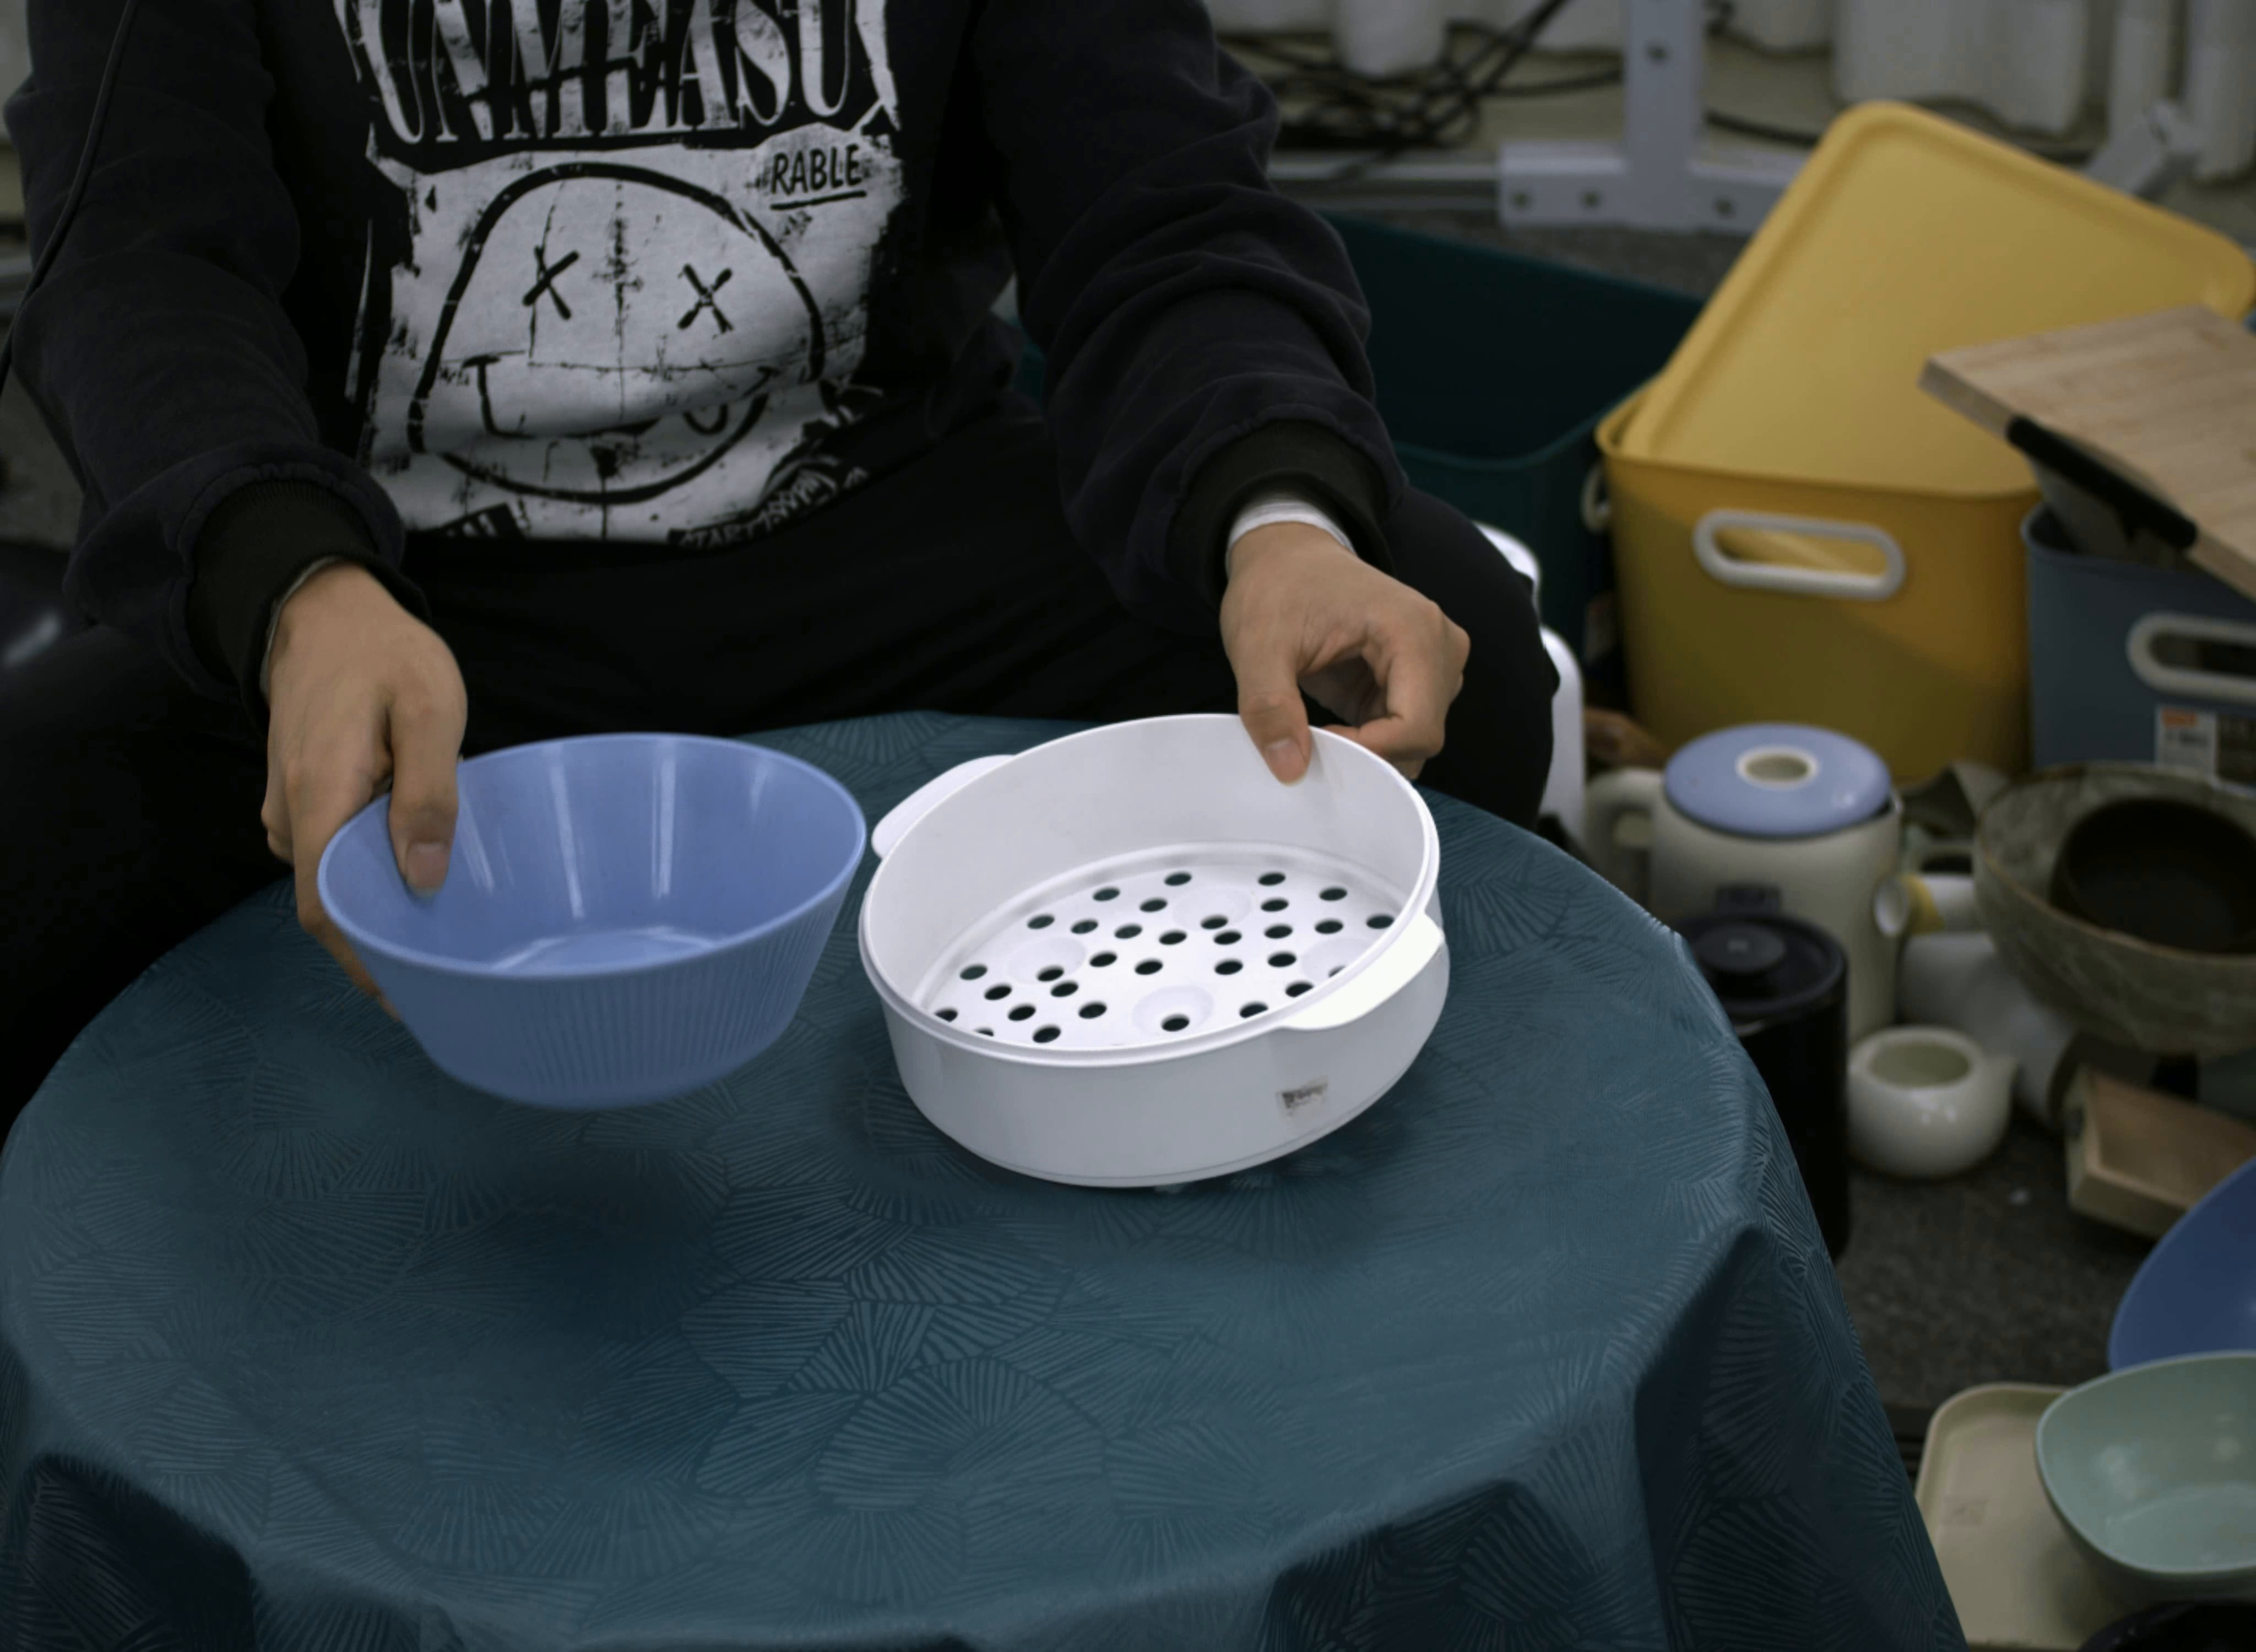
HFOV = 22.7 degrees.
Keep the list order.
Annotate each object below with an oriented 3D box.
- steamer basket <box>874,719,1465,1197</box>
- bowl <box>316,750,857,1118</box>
[{"bbox_3d":[0.016,0.045,1.915,0.230,0.068,0.205,22,45,38],"label":"steamer basket"},{"bbox_3d":[-0.173,0.040,1.820,0.175,0.069,0.178,-2,24,1],"label":"bowl"}]
